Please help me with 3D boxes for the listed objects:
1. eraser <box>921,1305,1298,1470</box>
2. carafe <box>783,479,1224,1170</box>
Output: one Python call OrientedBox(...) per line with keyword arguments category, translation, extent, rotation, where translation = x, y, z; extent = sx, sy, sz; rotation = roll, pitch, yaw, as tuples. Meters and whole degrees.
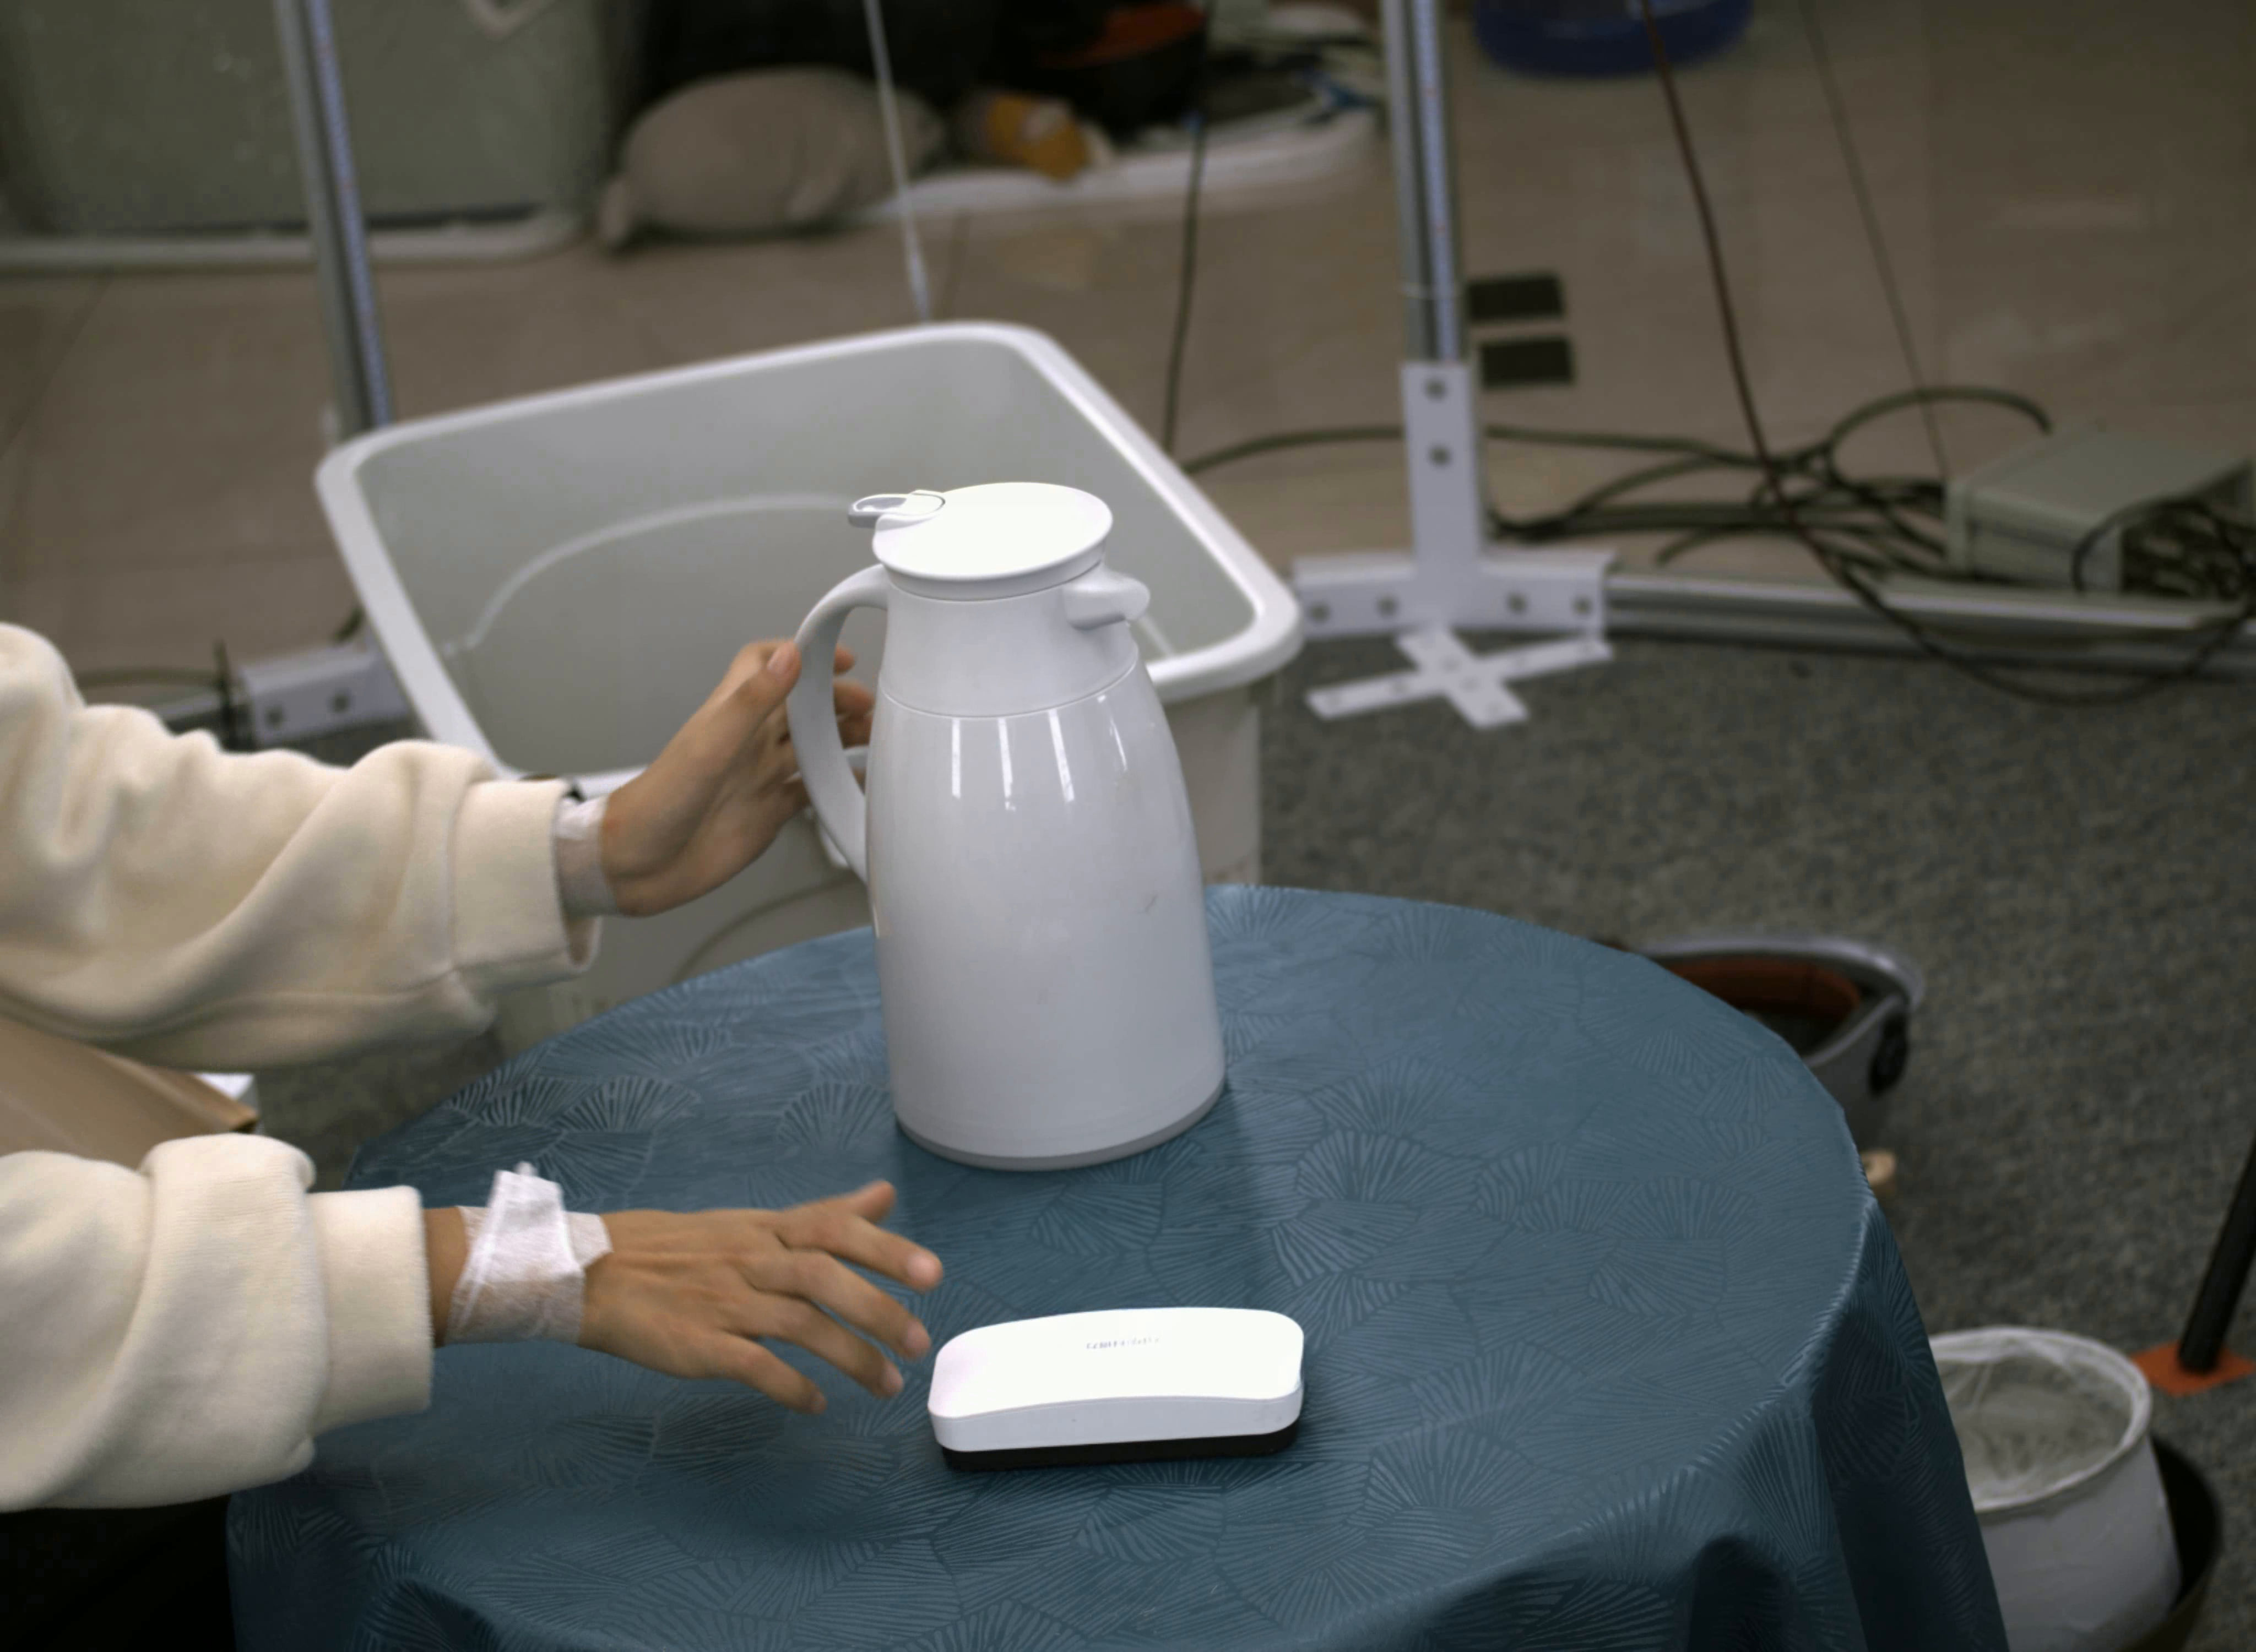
OrientedBox(category="eraser", translation=(-0.006, 0.196, 1.989), extent=(0.131, 0.035, 0.062), rotation=(-3, 22, 6))
OrientedBox(category="carafe", translation=(-0.056, -0.009, 2.181), extent=(0.167, 0.252, 0.131), rotation=(9, 30, 31))
